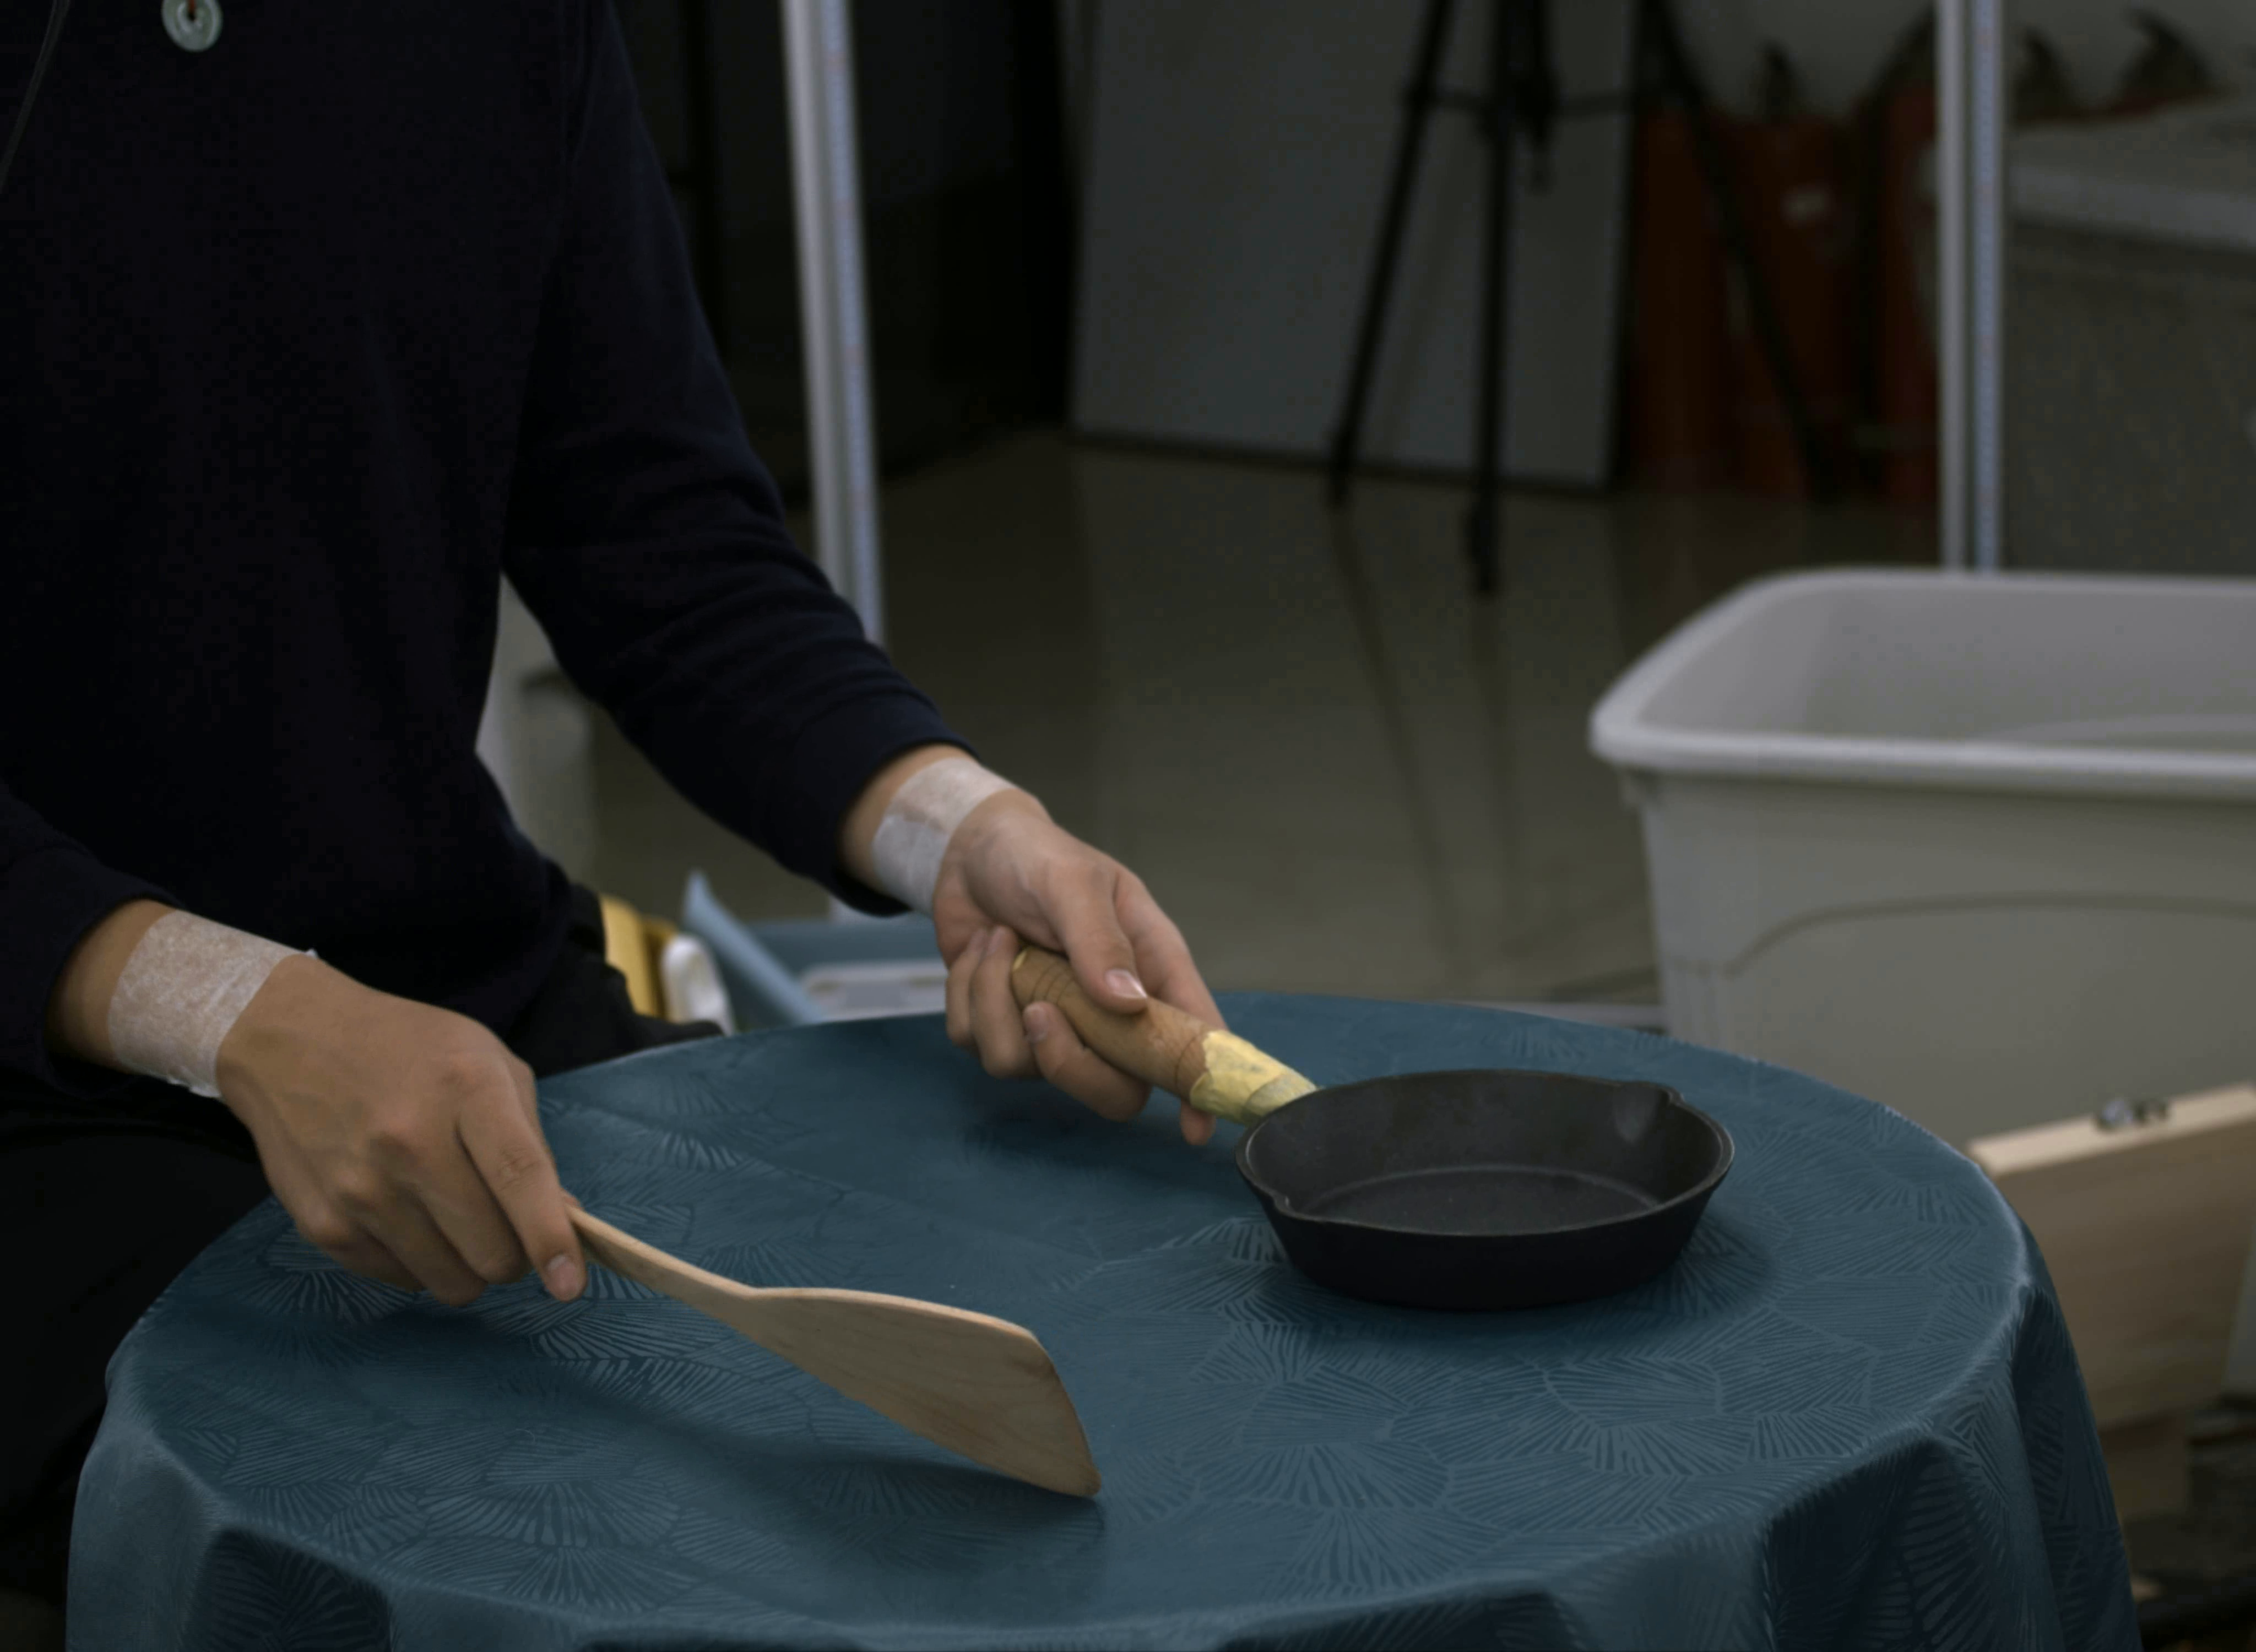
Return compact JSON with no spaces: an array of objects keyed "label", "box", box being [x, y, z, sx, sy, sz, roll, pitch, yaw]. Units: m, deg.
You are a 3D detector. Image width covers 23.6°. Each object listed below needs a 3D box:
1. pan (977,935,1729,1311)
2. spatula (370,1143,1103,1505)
[{"label":"pan","box":[0.058,0.092,1.748,0.165,0.050,0.327,-14,20,-36]},{"label":"spatula","box":[-0.123,0.136,1.587,0.331,0.079,0.016,15,53,47]}]
